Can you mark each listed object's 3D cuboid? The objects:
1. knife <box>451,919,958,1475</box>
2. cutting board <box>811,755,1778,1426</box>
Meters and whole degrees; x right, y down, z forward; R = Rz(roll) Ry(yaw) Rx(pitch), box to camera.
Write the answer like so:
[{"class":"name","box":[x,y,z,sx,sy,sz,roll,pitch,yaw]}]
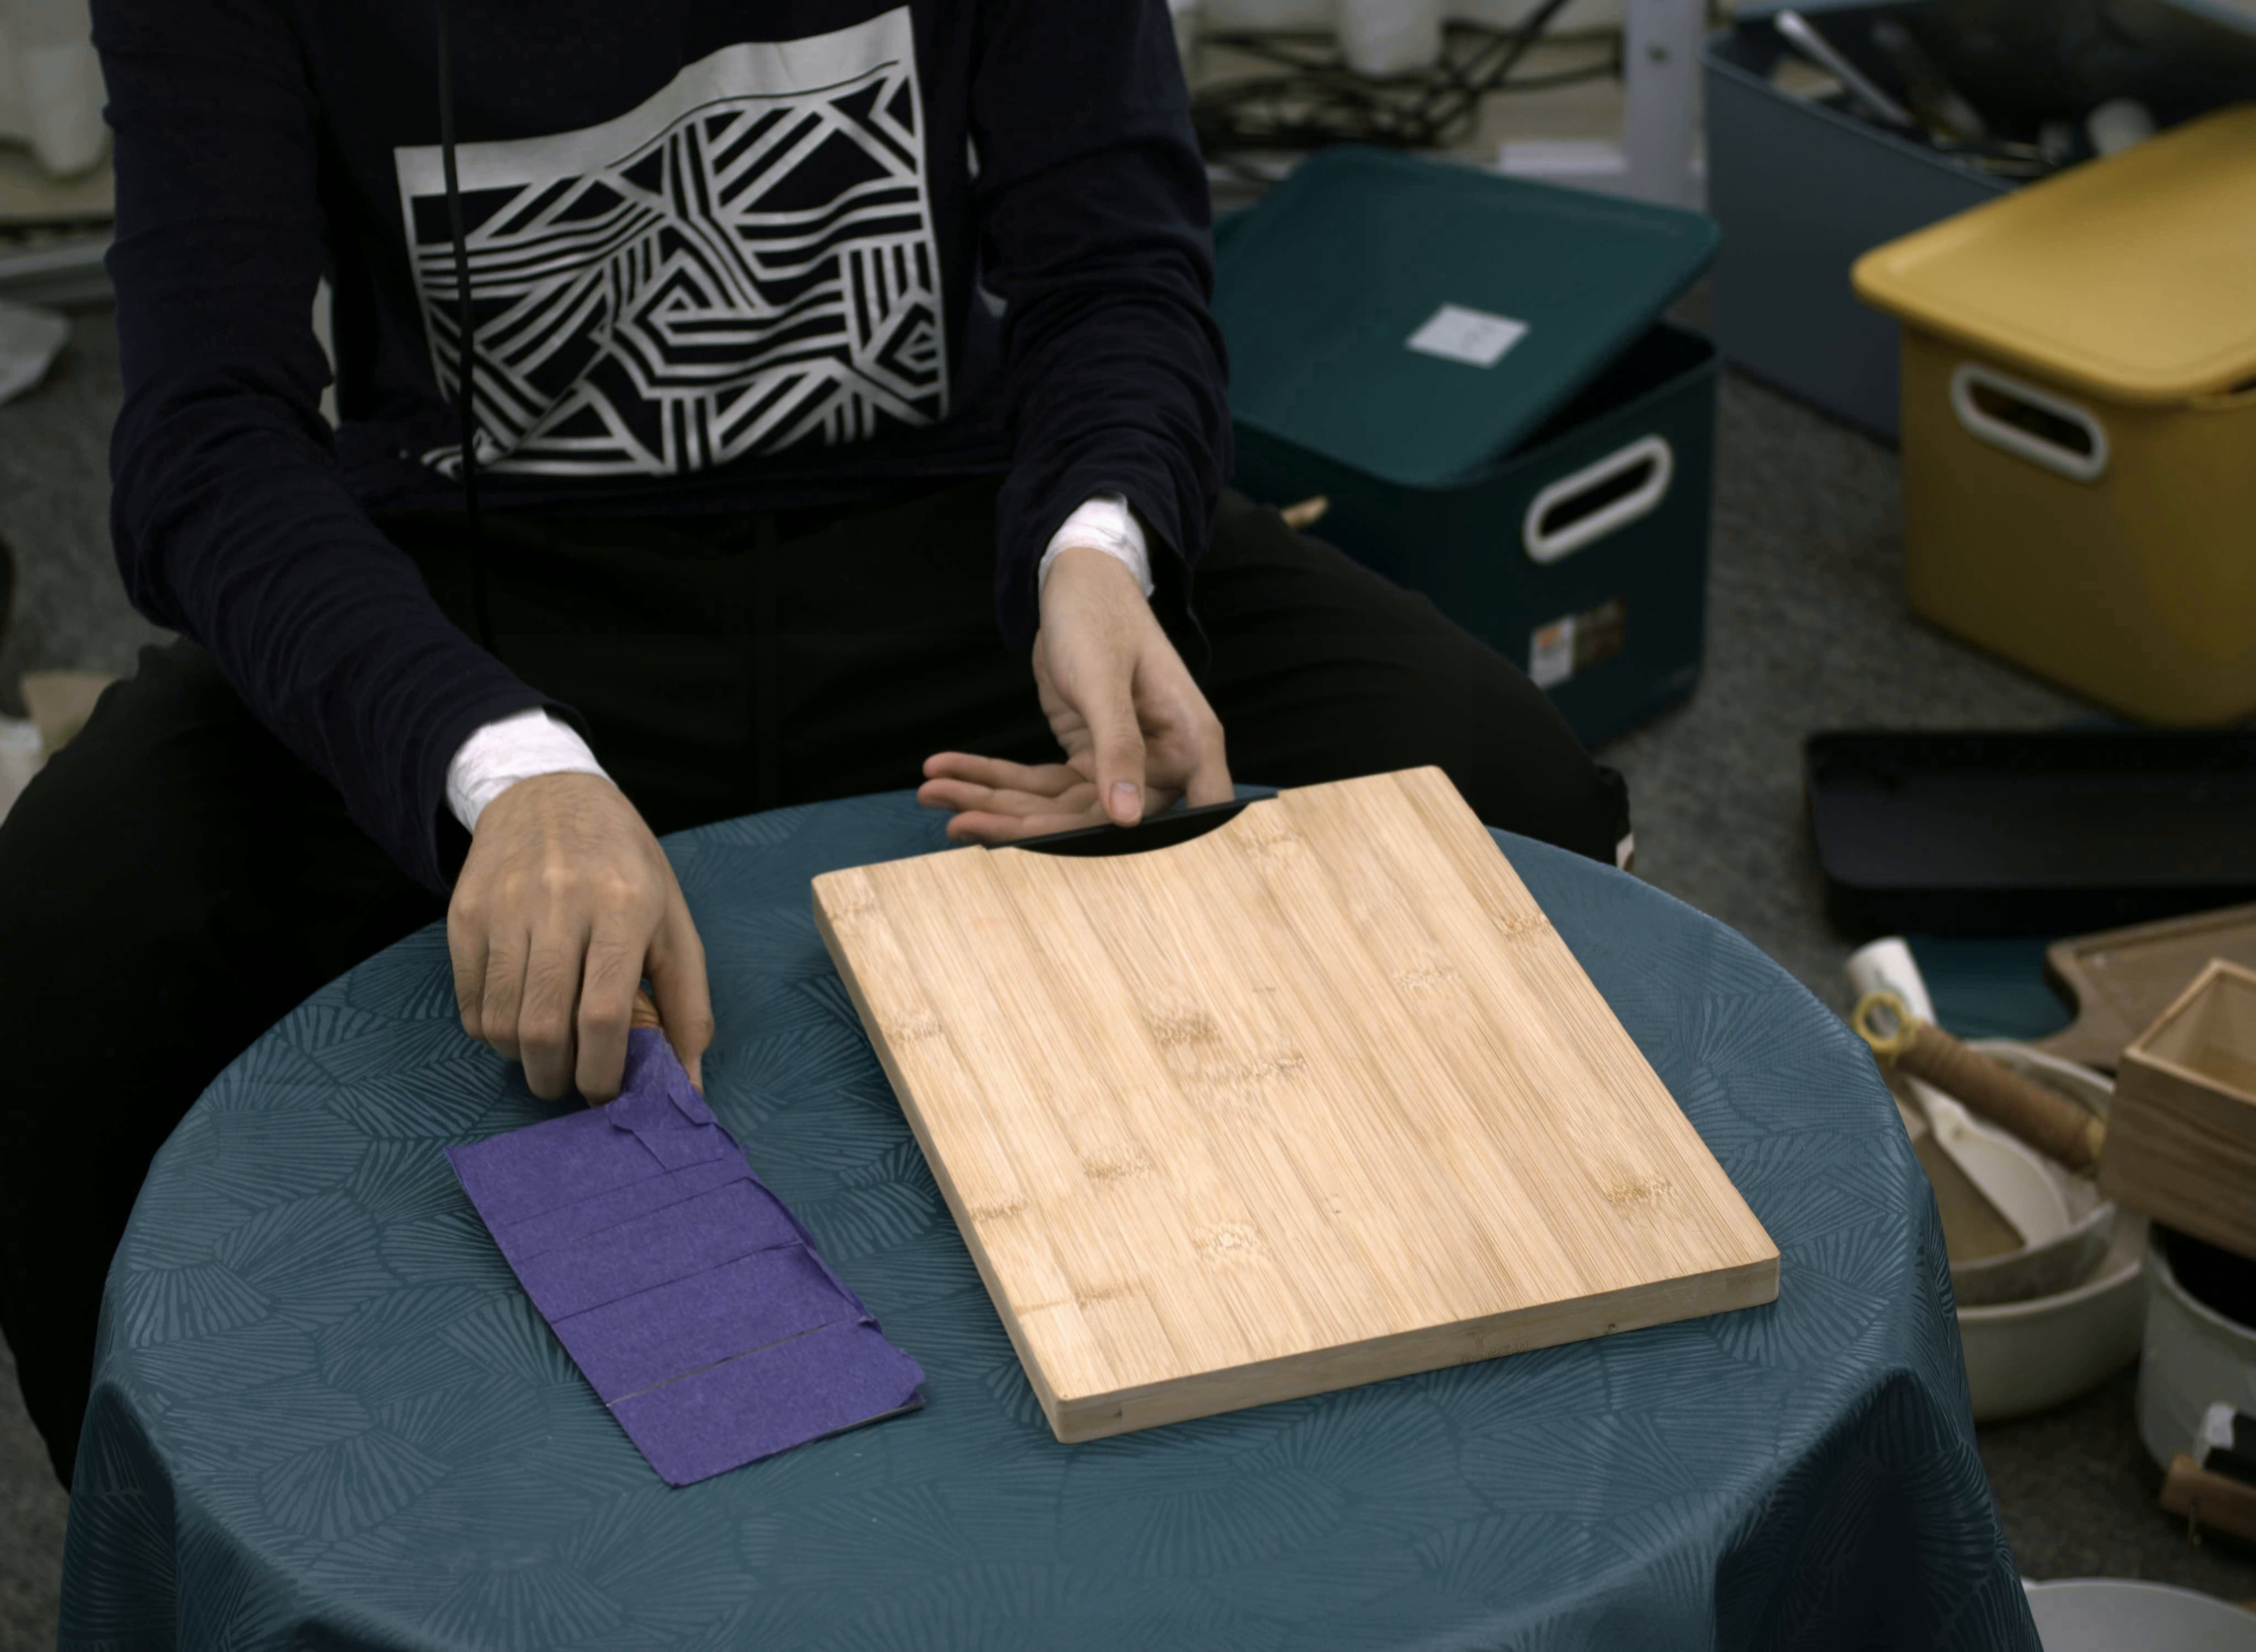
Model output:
[{"class":"knife","box":[-0.166,0.118,1.852,0.104,0.032,0.317,-15,31,-22]},{"class":"cutting board","box":[0.046,0.082,1.902,0.251,0.023,0.352,-10,30,-13]}]
